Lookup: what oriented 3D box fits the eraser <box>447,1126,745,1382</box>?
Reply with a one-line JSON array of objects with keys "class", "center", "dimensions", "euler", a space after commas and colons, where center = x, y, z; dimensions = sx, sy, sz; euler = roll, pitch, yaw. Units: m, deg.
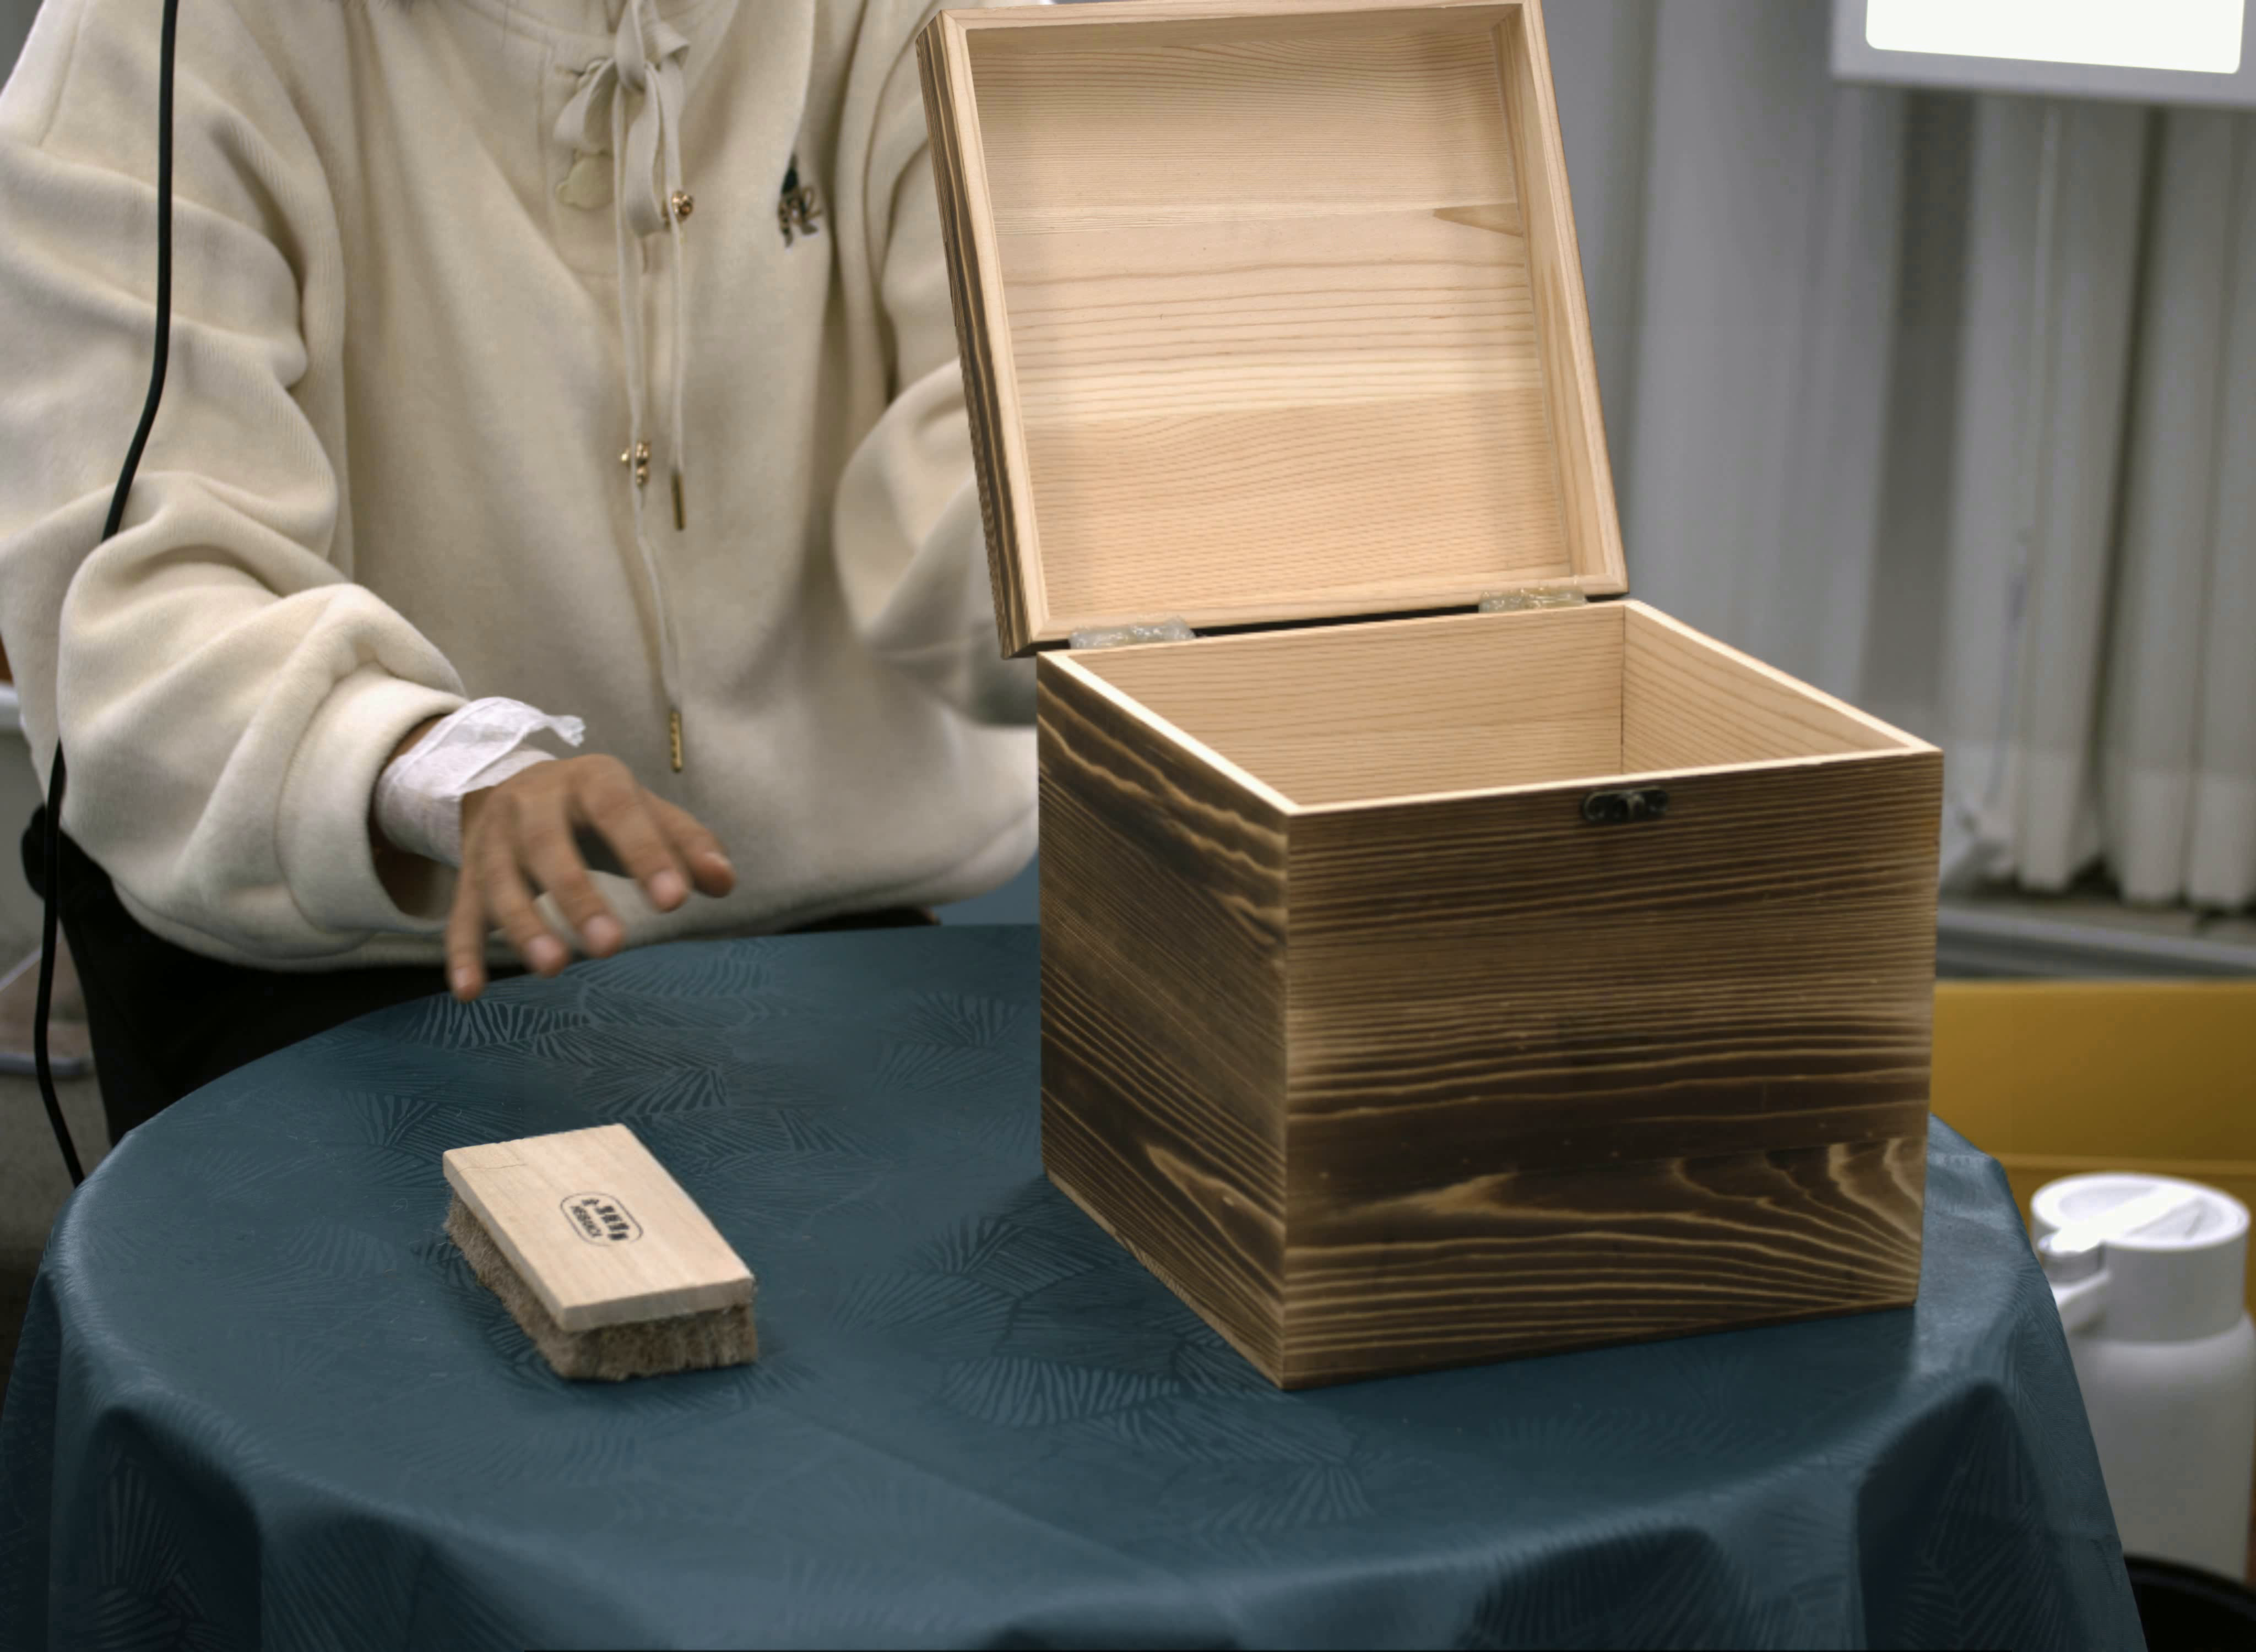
[{"class": "eraser", "center": [-0.154, 0.124, 1.521], "dimensions": [0.057, 0.029, 0.138], "euler": [-9, 17, -18]}]

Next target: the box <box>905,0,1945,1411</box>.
[{"class": "box", "center": [0.081, -0.064, 1.575], "dimensions": [0.209, 0.378, 0.318], "euler": [-7, 18, -20]}]
